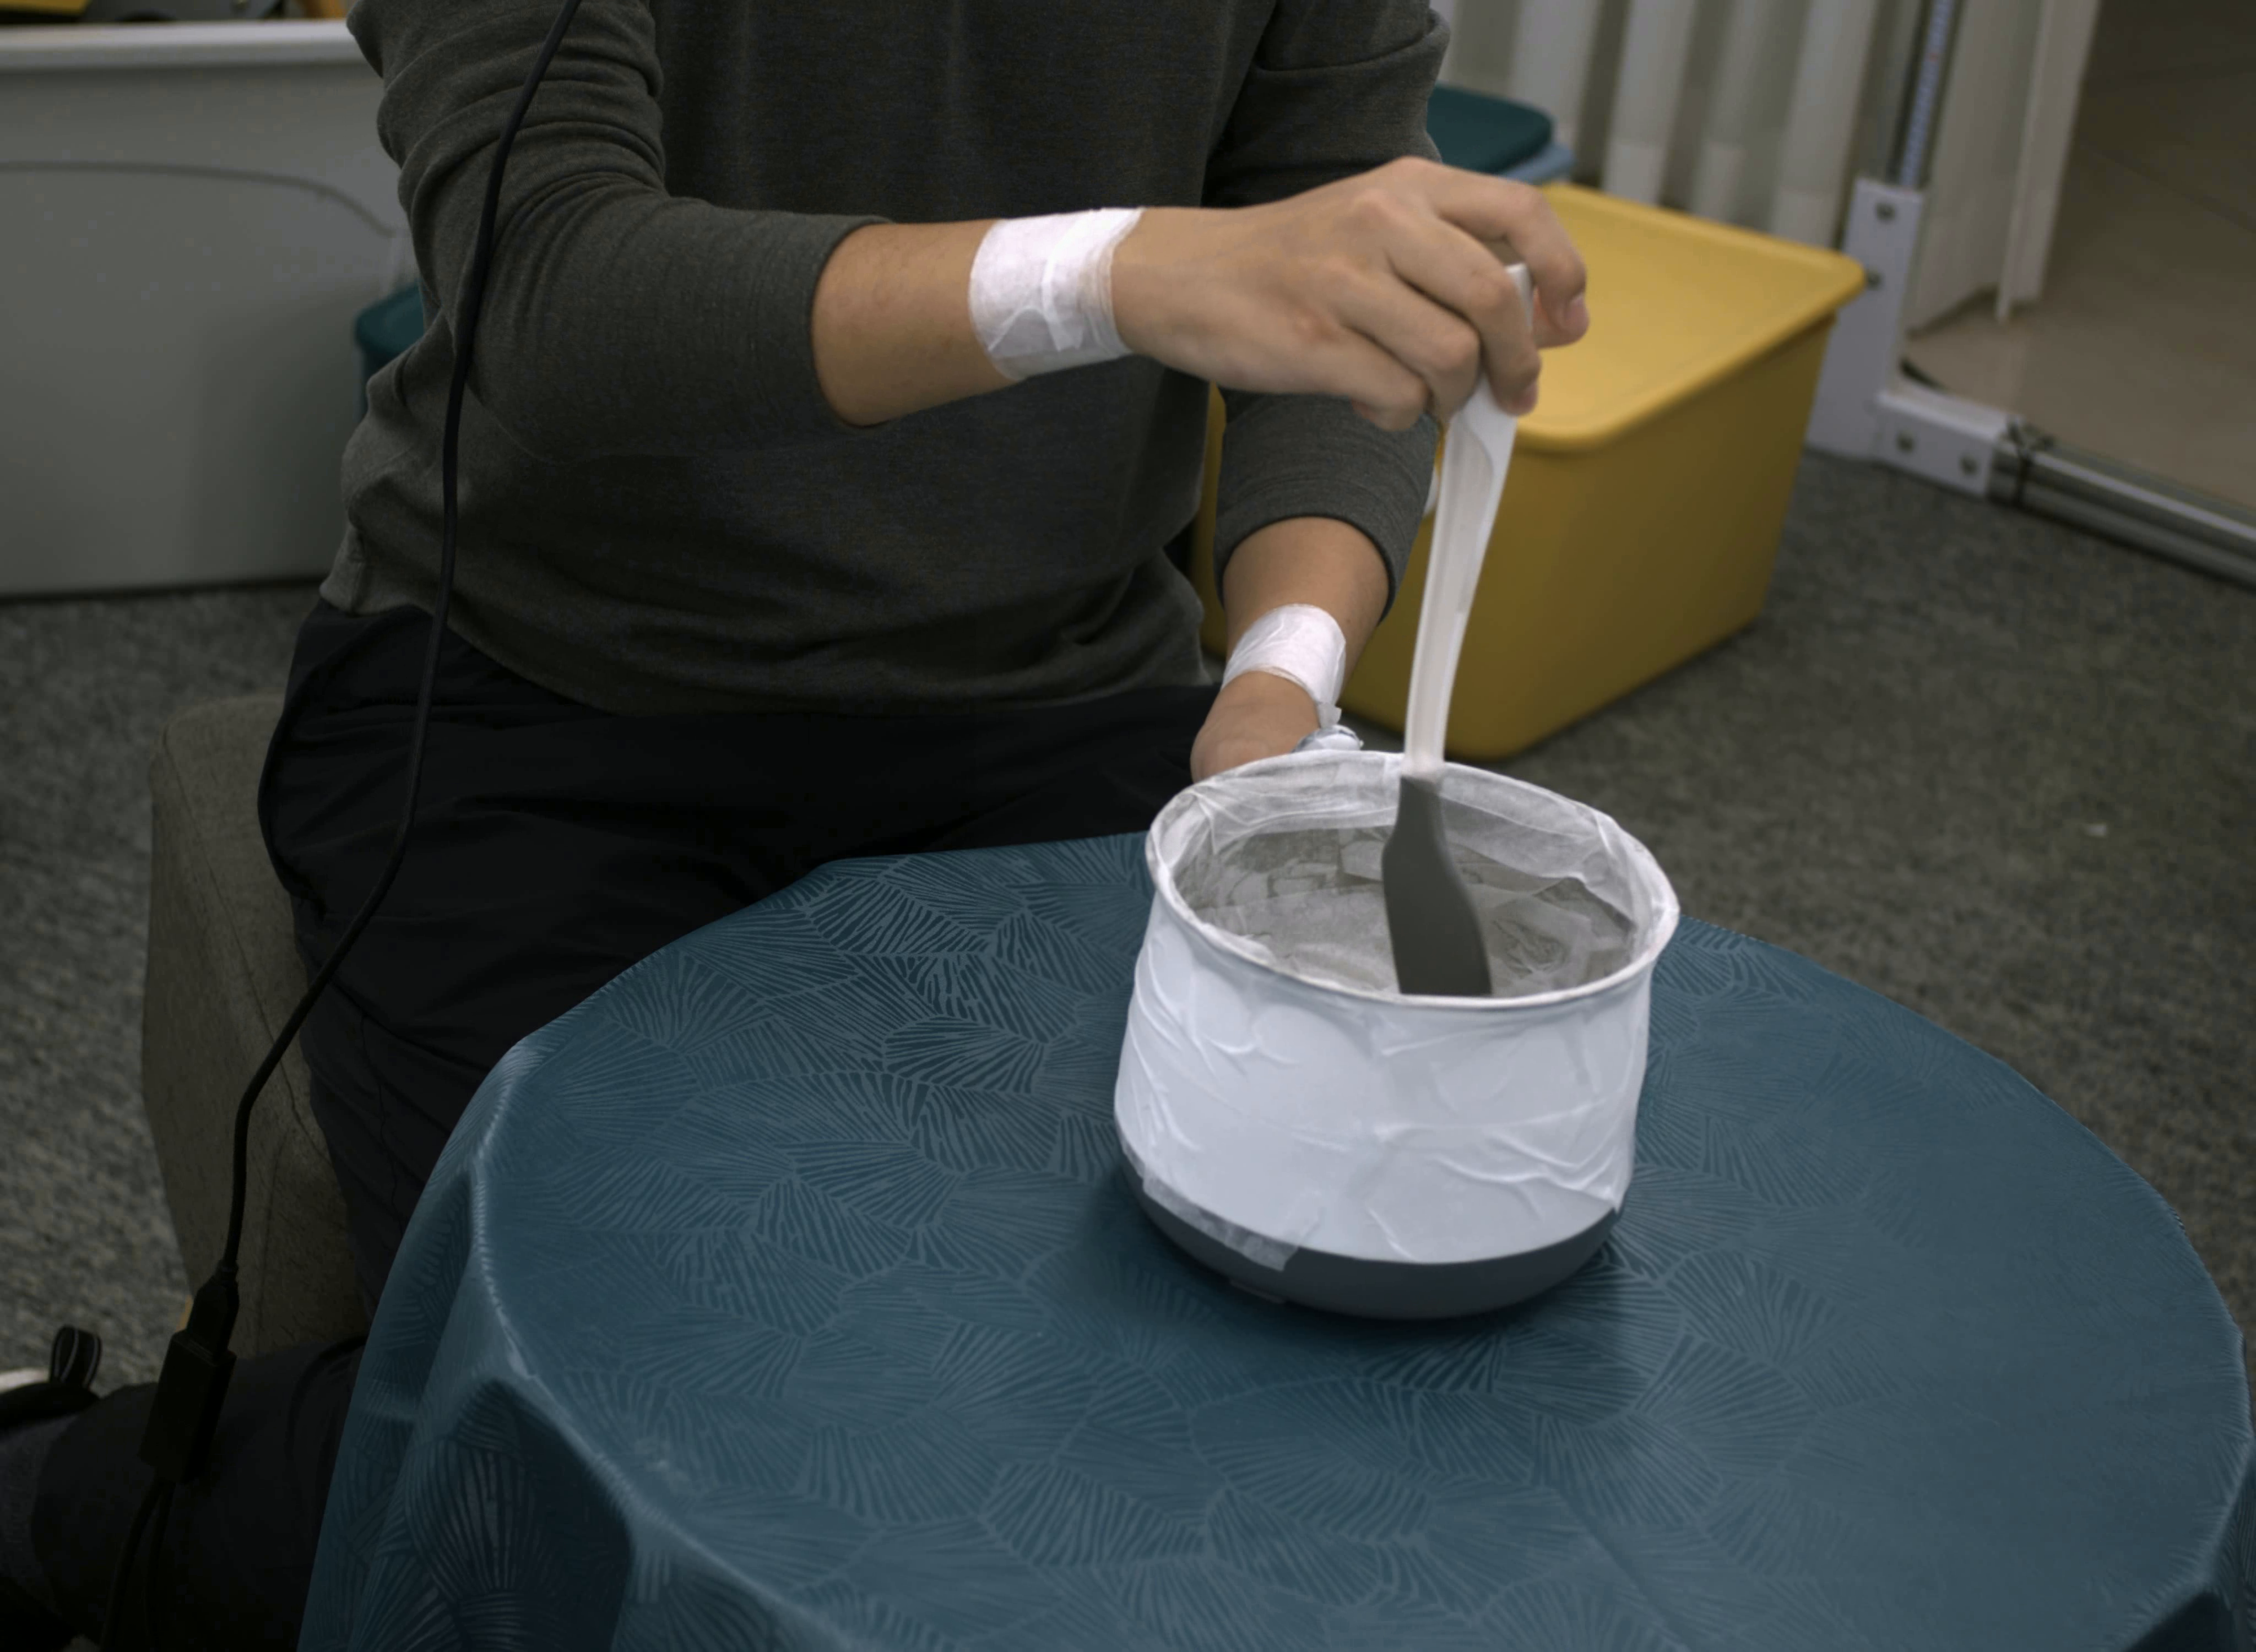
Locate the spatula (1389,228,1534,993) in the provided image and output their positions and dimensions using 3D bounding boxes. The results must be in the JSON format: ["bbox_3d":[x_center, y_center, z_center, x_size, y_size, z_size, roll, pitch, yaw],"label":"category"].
[{"bbox_3d":[0.107,-0.052,1.721,0.032,0.286,0.059,-16,30,-33],"label":"spatula"}]

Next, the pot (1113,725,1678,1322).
[{"bbox_3d":[0.080,0.059,1.801,0.178,0.136,0.235,-1,27,-15],"label":"pot"}]
